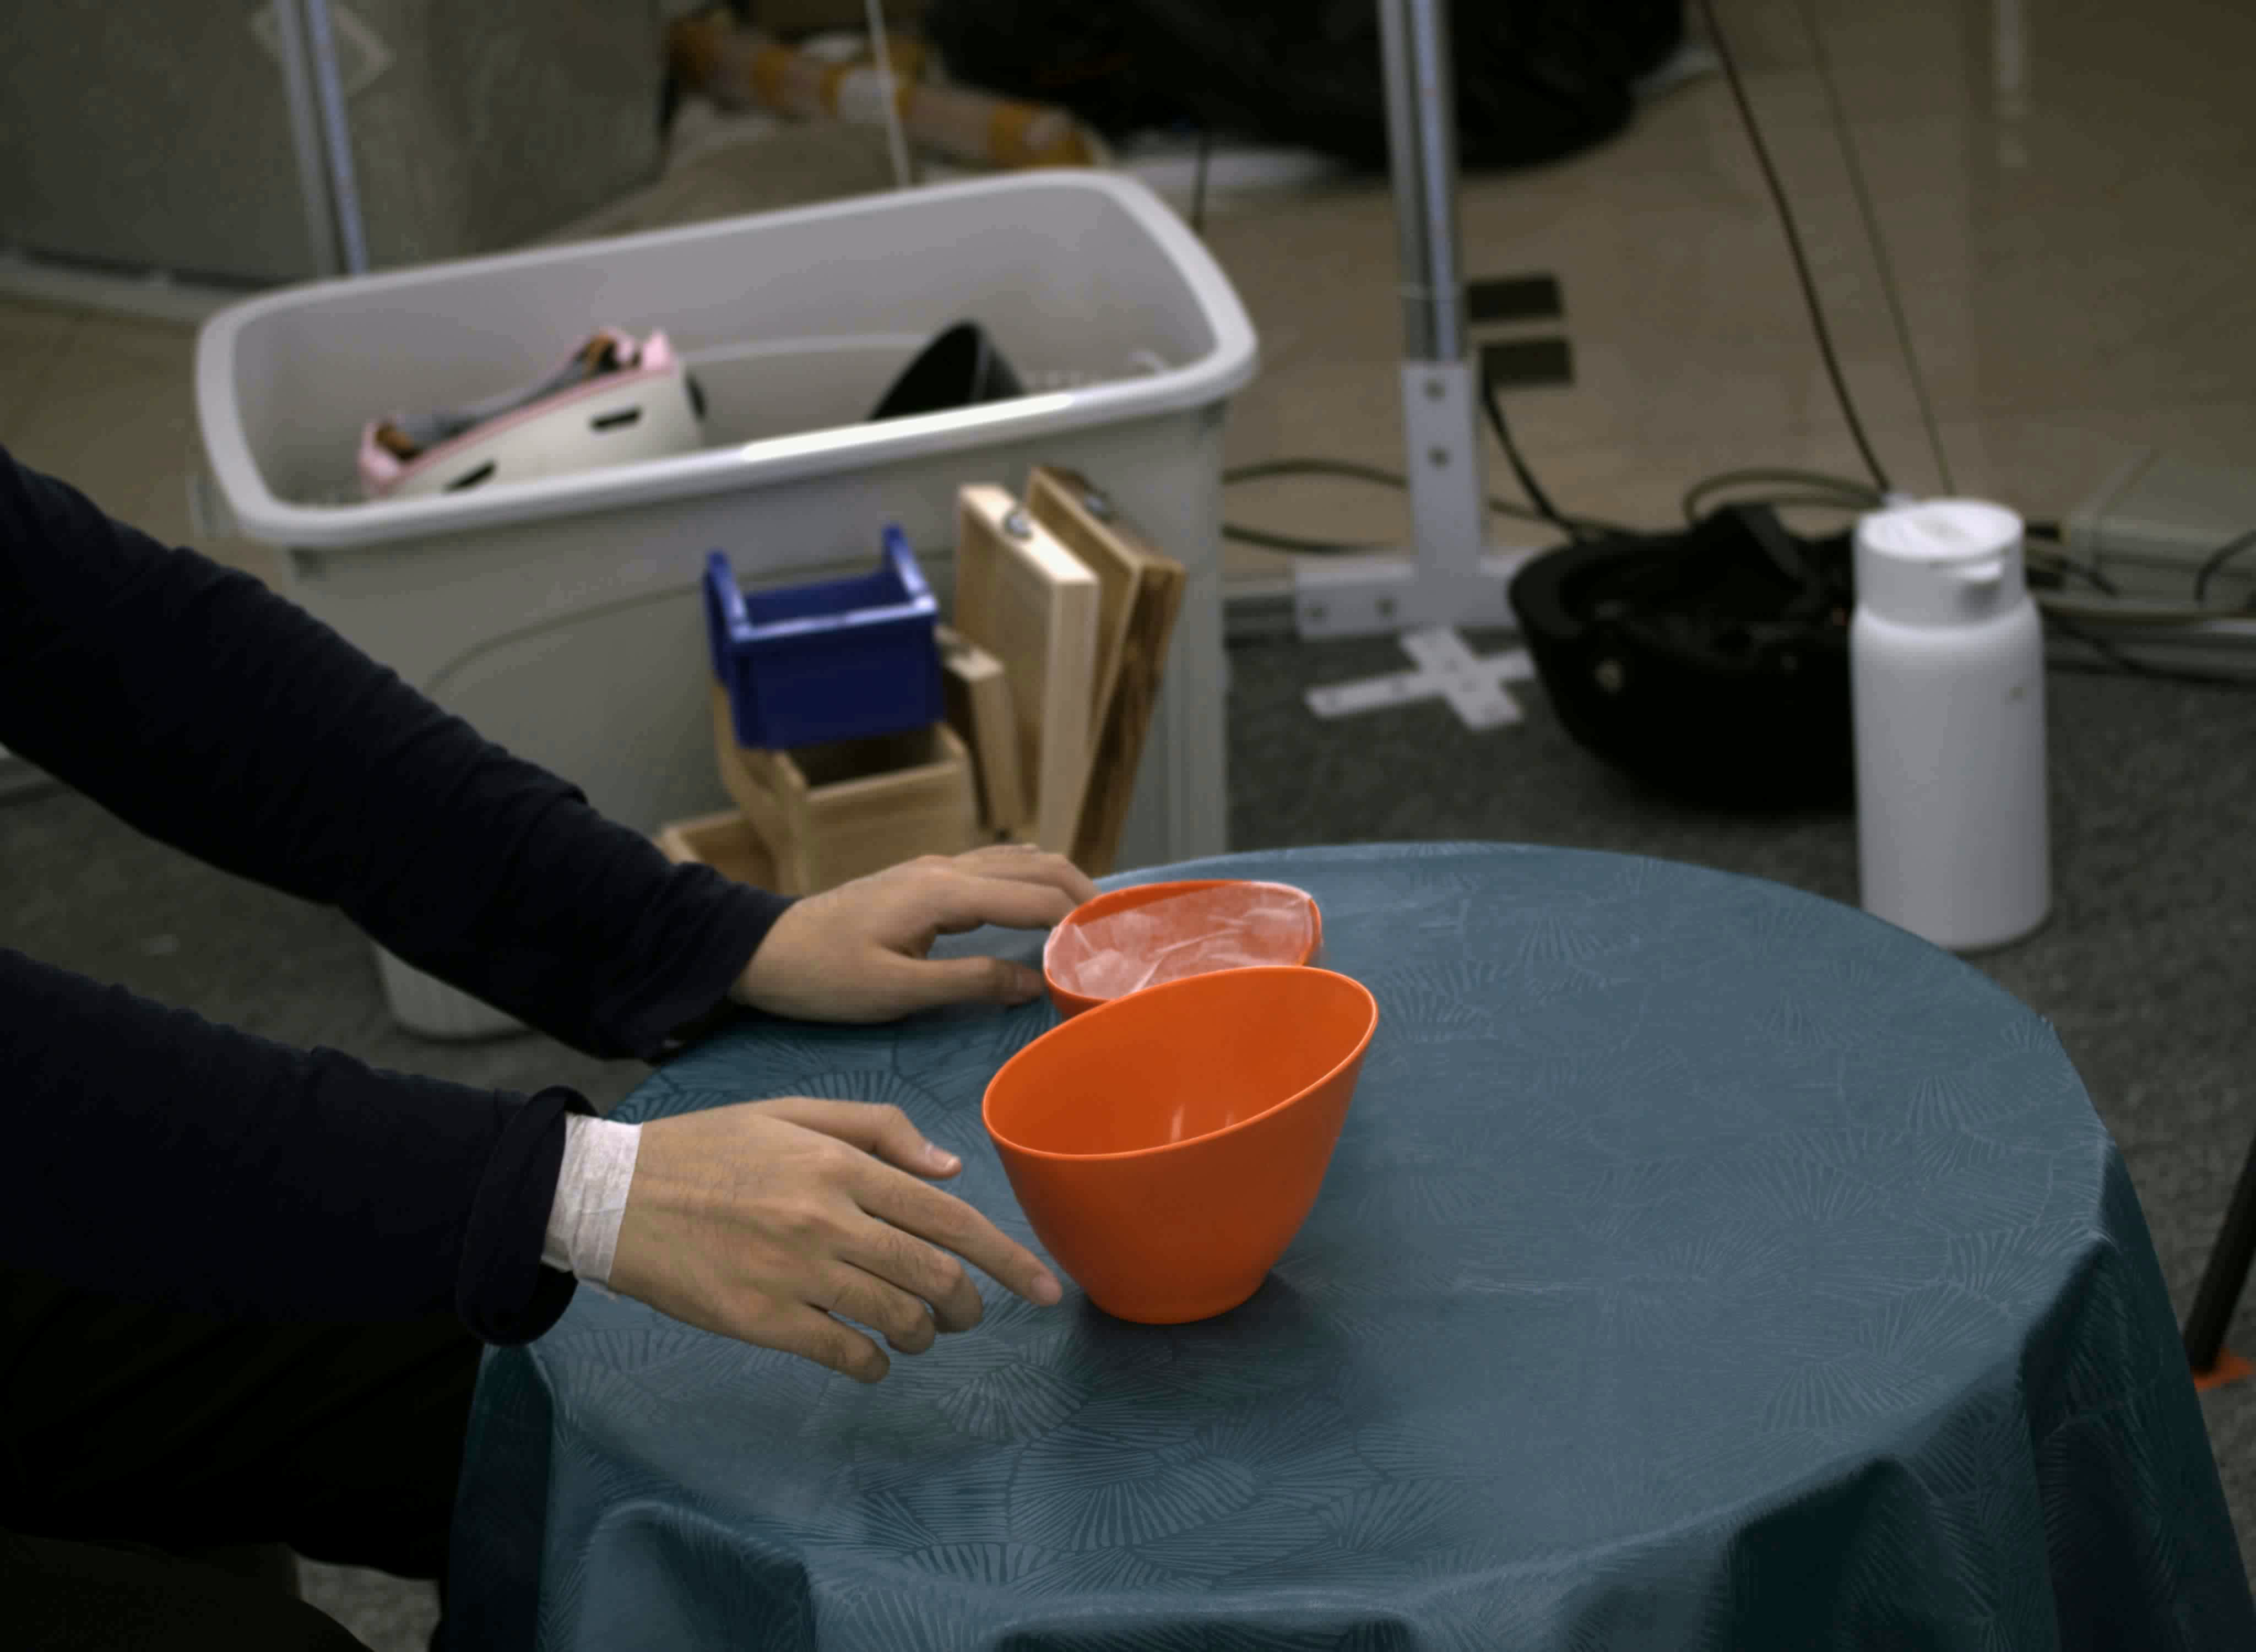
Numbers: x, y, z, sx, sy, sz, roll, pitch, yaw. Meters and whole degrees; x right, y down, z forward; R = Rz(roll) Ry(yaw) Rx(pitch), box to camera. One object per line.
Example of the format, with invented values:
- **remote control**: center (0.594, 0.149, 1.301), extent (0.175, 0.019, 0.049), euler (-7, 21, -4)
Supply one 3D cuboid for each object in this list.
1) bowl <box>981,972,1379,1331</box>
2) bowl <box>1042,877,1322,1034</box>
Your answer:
- **bowl**: center (0.023, 0.123, 2.061), extent (0.148, 0.106, 0.146), euler (-6, 25, 3)
- **bowl**: center (0.024, 0.067, 2.240), extent (0.119, 0.052, 0.117), euler (-6, 26, 3)
